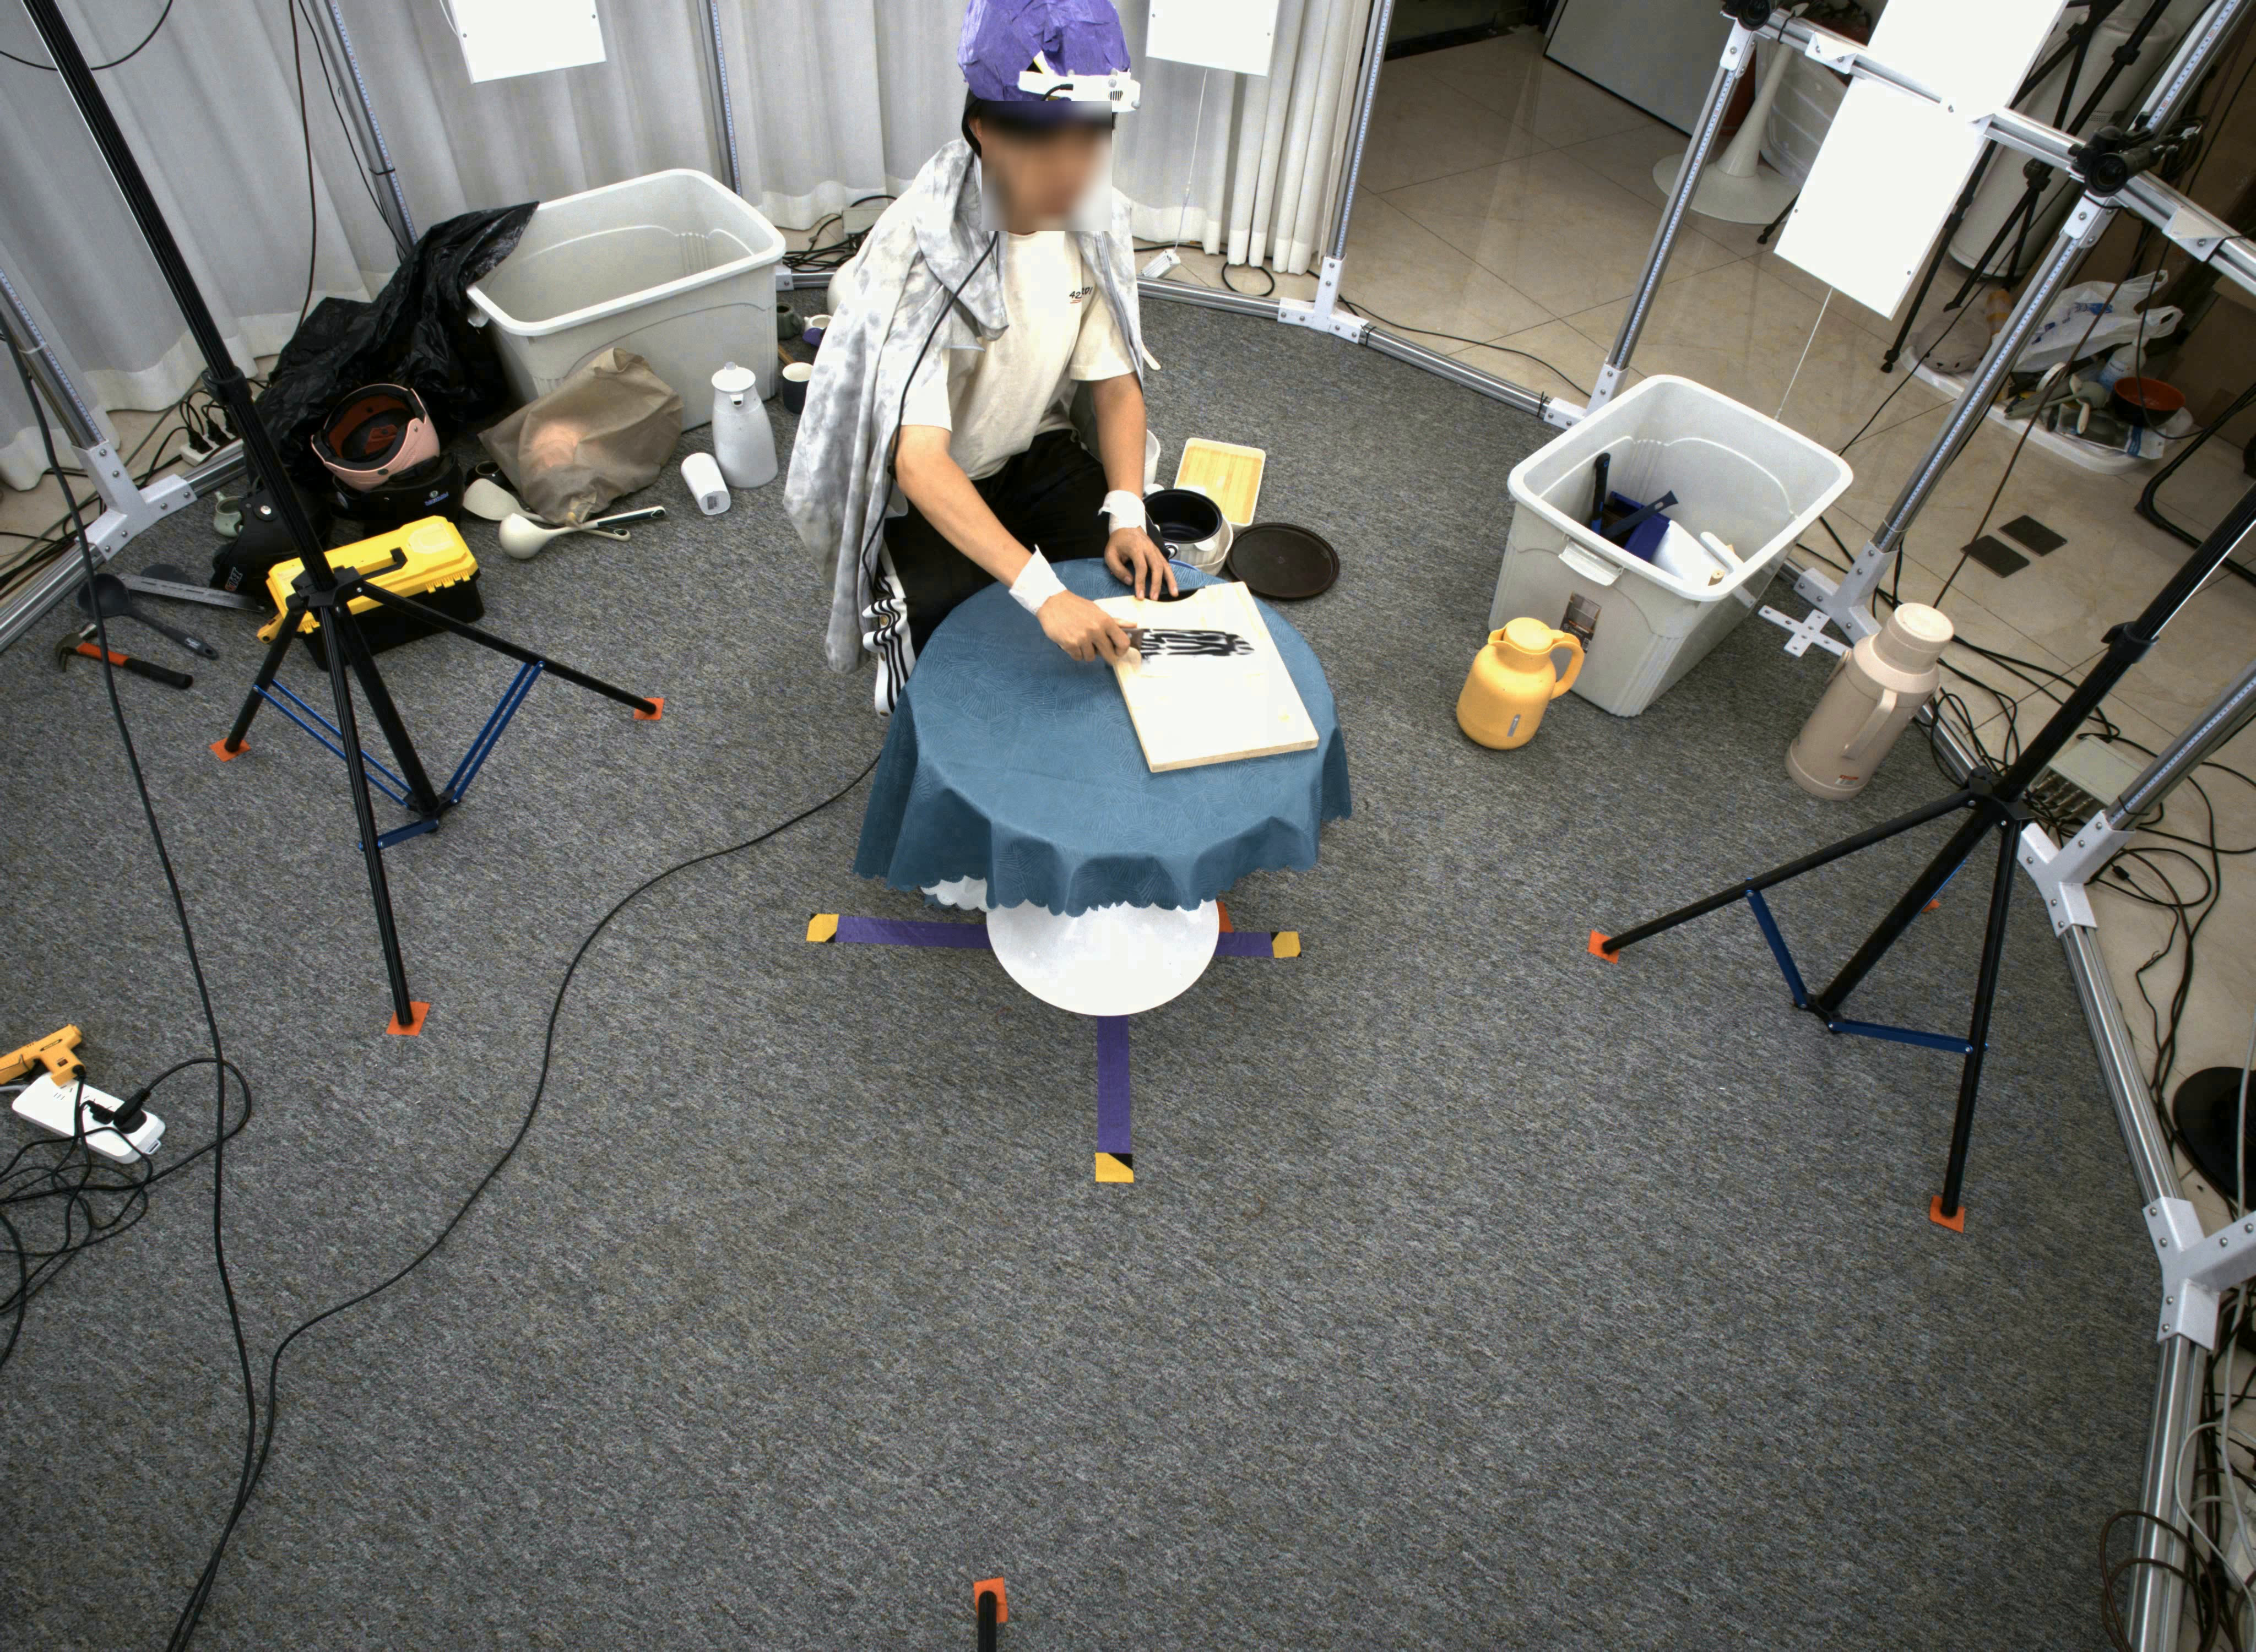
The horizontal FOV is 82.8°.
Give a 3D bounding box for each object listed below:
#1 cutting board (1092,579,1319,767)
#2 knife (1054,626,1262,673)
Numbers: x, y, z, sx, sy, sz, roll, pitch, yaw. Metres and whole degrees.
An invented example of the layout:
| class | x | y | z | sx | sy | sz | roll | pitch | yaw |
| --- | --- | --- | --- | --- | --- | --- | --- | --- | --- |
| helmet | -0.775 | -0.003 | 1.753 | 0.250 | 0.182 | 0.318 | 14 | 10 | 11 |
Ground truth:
| class | x | y | z | sx | sy | sz | roll | pitch | yaw |
| --- | --- | --- | --- | --- | --- | --- | --- | --- | --- |
| cutting board | 0.104 | -0.228 | 1.856 | 0.250 | 0.023 | 0.357 | -10 | 50 | -13 |
| knife | 0.044 | -0.251 | 1.827 | 0.299 | 0.024 | 0.068 | 1 | 88 | -6 |
